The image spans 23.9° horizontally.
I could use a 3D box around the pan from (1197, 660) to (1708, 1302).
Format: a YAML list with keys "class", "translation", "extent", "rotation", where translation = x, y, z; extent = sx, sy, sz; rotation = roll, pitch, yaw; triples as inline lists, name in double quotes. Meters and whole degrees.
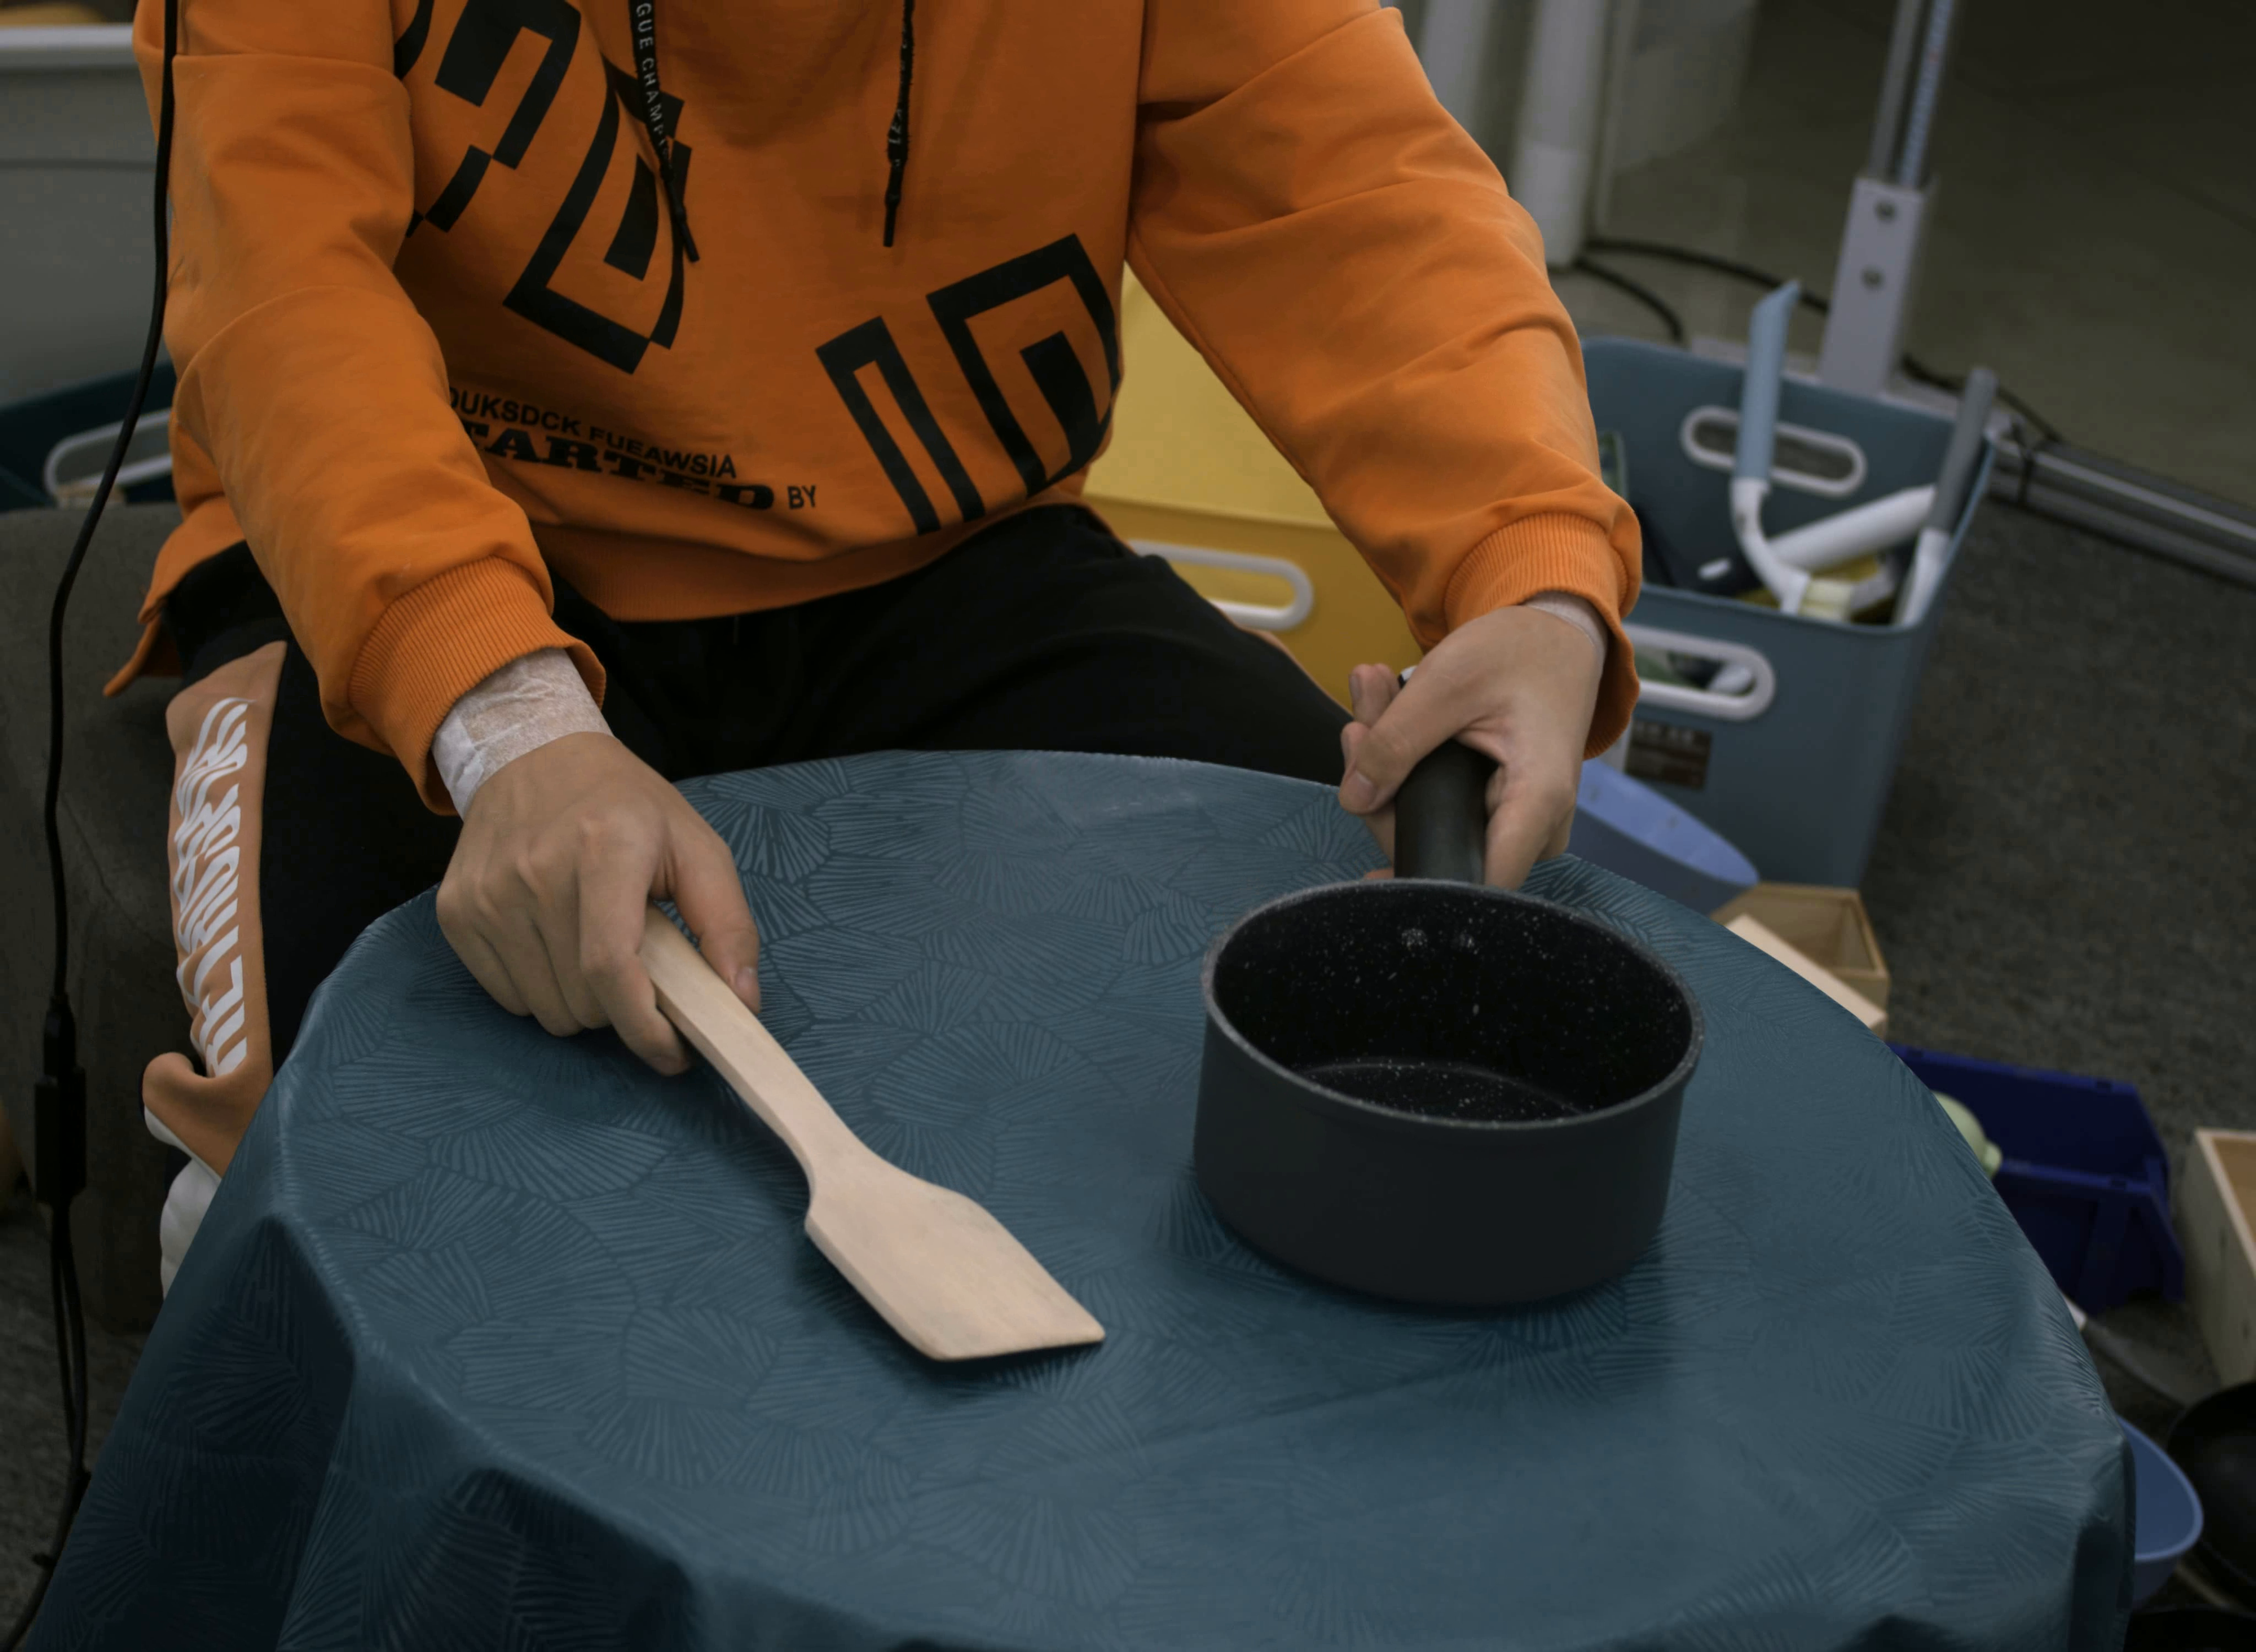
- class: "pan"
  translation: [0.112, 0.050, 1.871]
  extent: [0.171, 0.086, 0.330]
  rotation: [7, 28, 2]

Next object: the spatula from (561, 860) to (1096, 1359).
- class: "spatula"
  translation: [-0.115, 0.091, 1.793]
  extent: [0.072, 0.010, 0.296]
  rotation: [-5, 35, -36]
